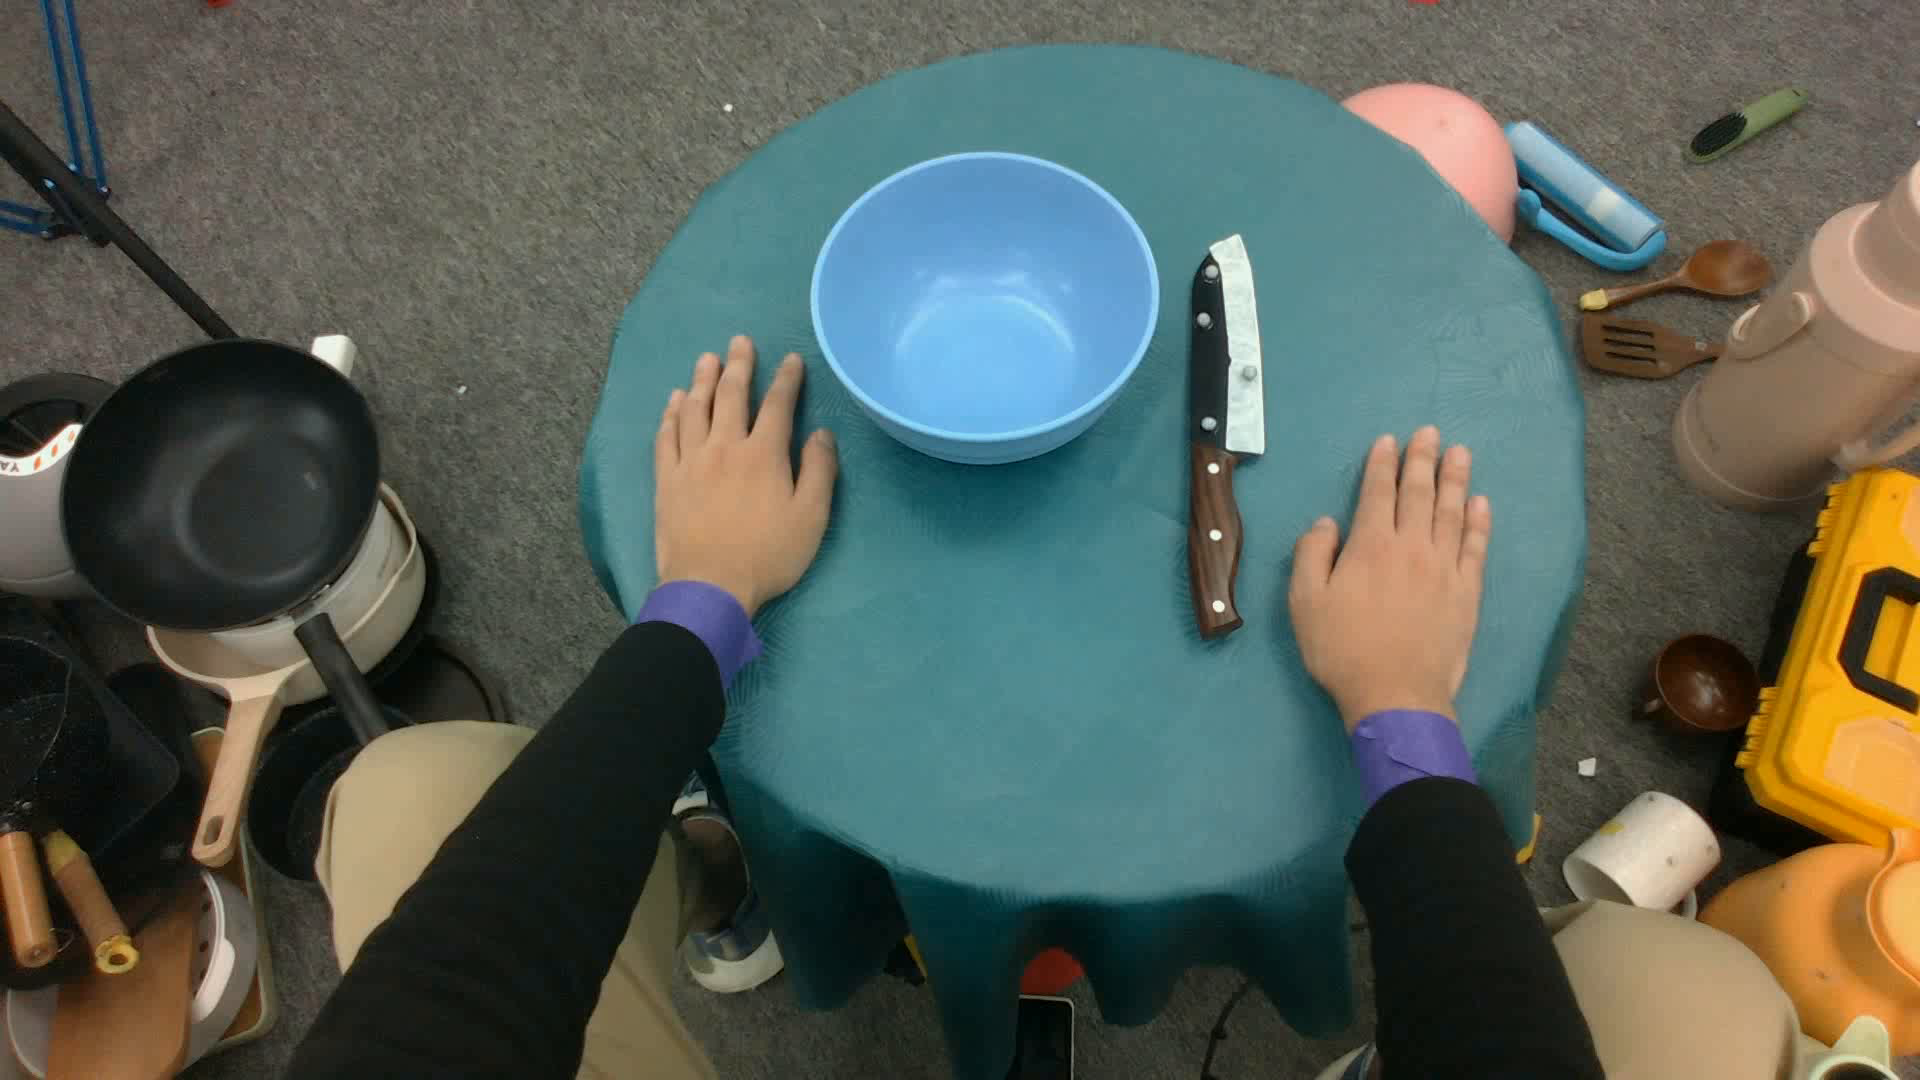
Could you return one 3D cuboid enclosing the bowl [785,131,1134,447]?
[{"bbox_3d":[0.000,-0.133,0.816,0.196,0.095,0.197,0,67,0],"label":"bowl"}]

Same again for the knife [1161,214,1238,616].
[{"bbox_3d":[0.143,-0.086,0.832,0.050,0.020,0.290,7,62,-1],"label":"knife"}]
